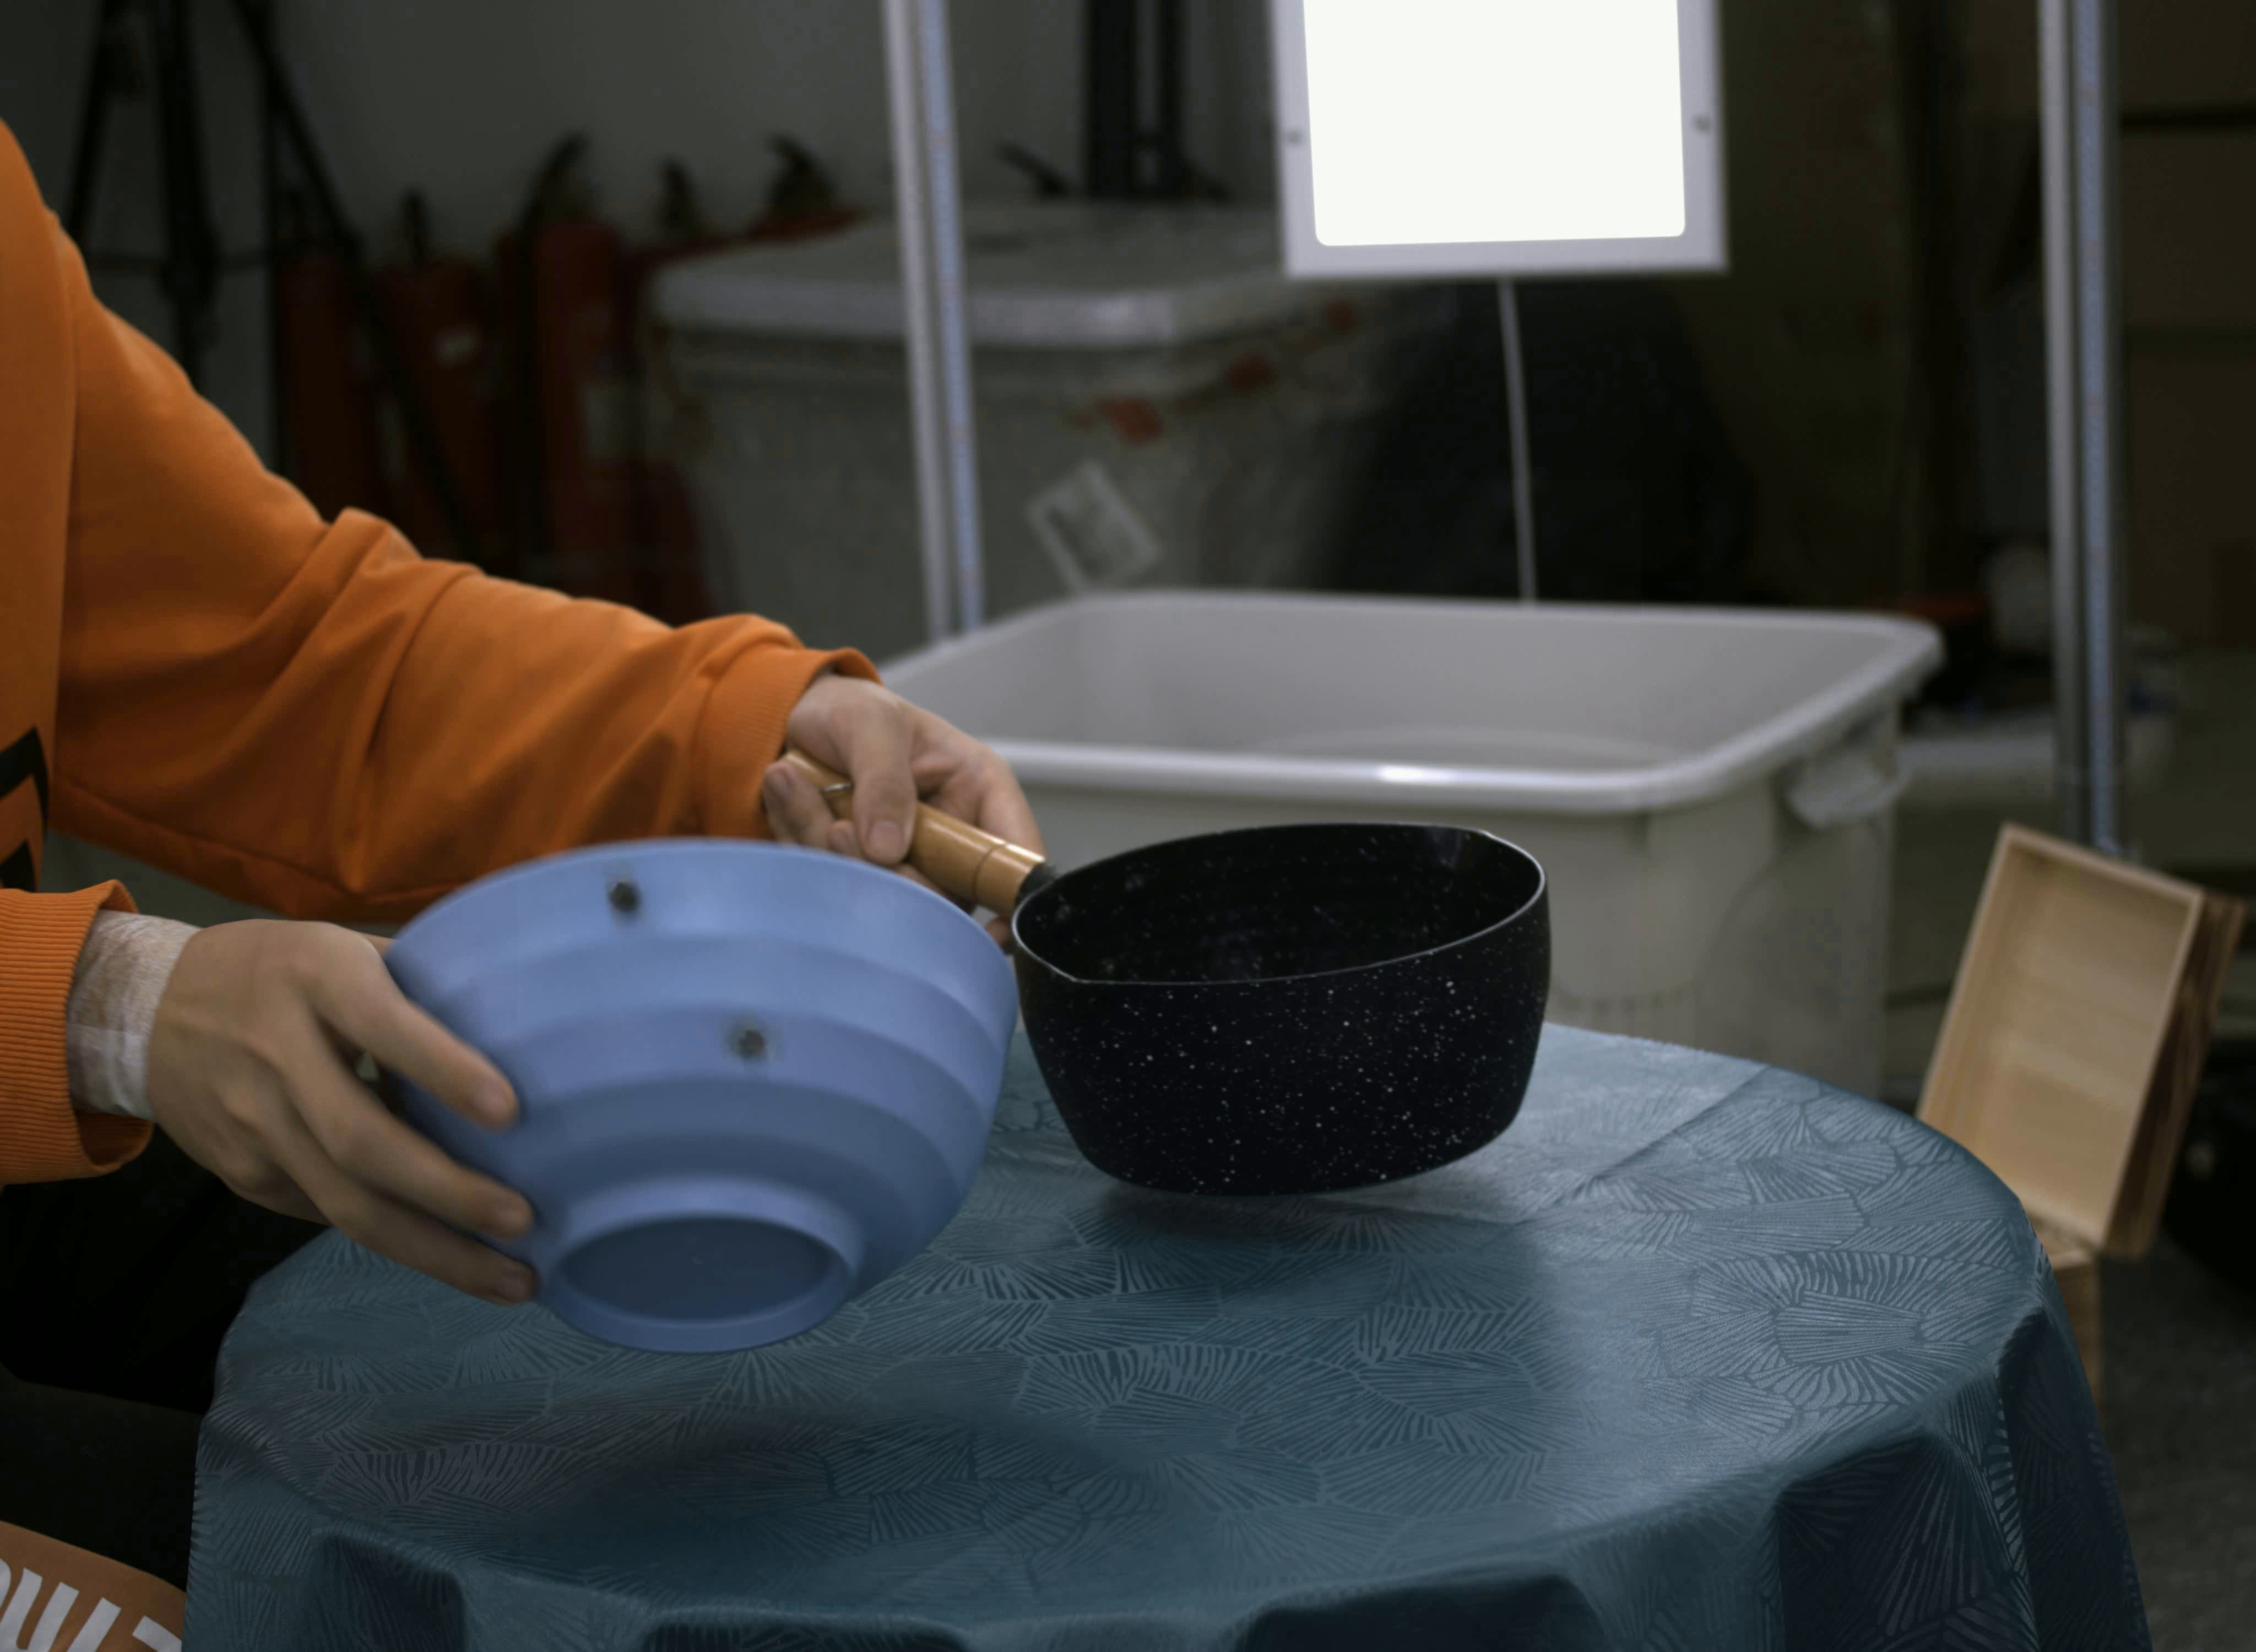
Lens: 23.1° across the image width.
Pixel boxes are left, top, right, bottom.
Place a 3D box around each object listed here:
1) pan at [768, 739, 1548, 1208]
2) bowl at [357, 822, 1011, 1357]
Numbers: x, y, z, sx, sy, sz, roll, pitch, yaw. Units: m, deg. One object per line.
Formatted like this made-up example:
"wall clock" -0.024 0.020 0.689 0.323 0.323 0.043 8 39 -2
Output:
"pan" -0.004 0.043 1.931 0.350 0.108 0.202 11 25 44
"bowl" -0.131 0.093 1.630 0.196 0.197 0.095 -3 55 3
